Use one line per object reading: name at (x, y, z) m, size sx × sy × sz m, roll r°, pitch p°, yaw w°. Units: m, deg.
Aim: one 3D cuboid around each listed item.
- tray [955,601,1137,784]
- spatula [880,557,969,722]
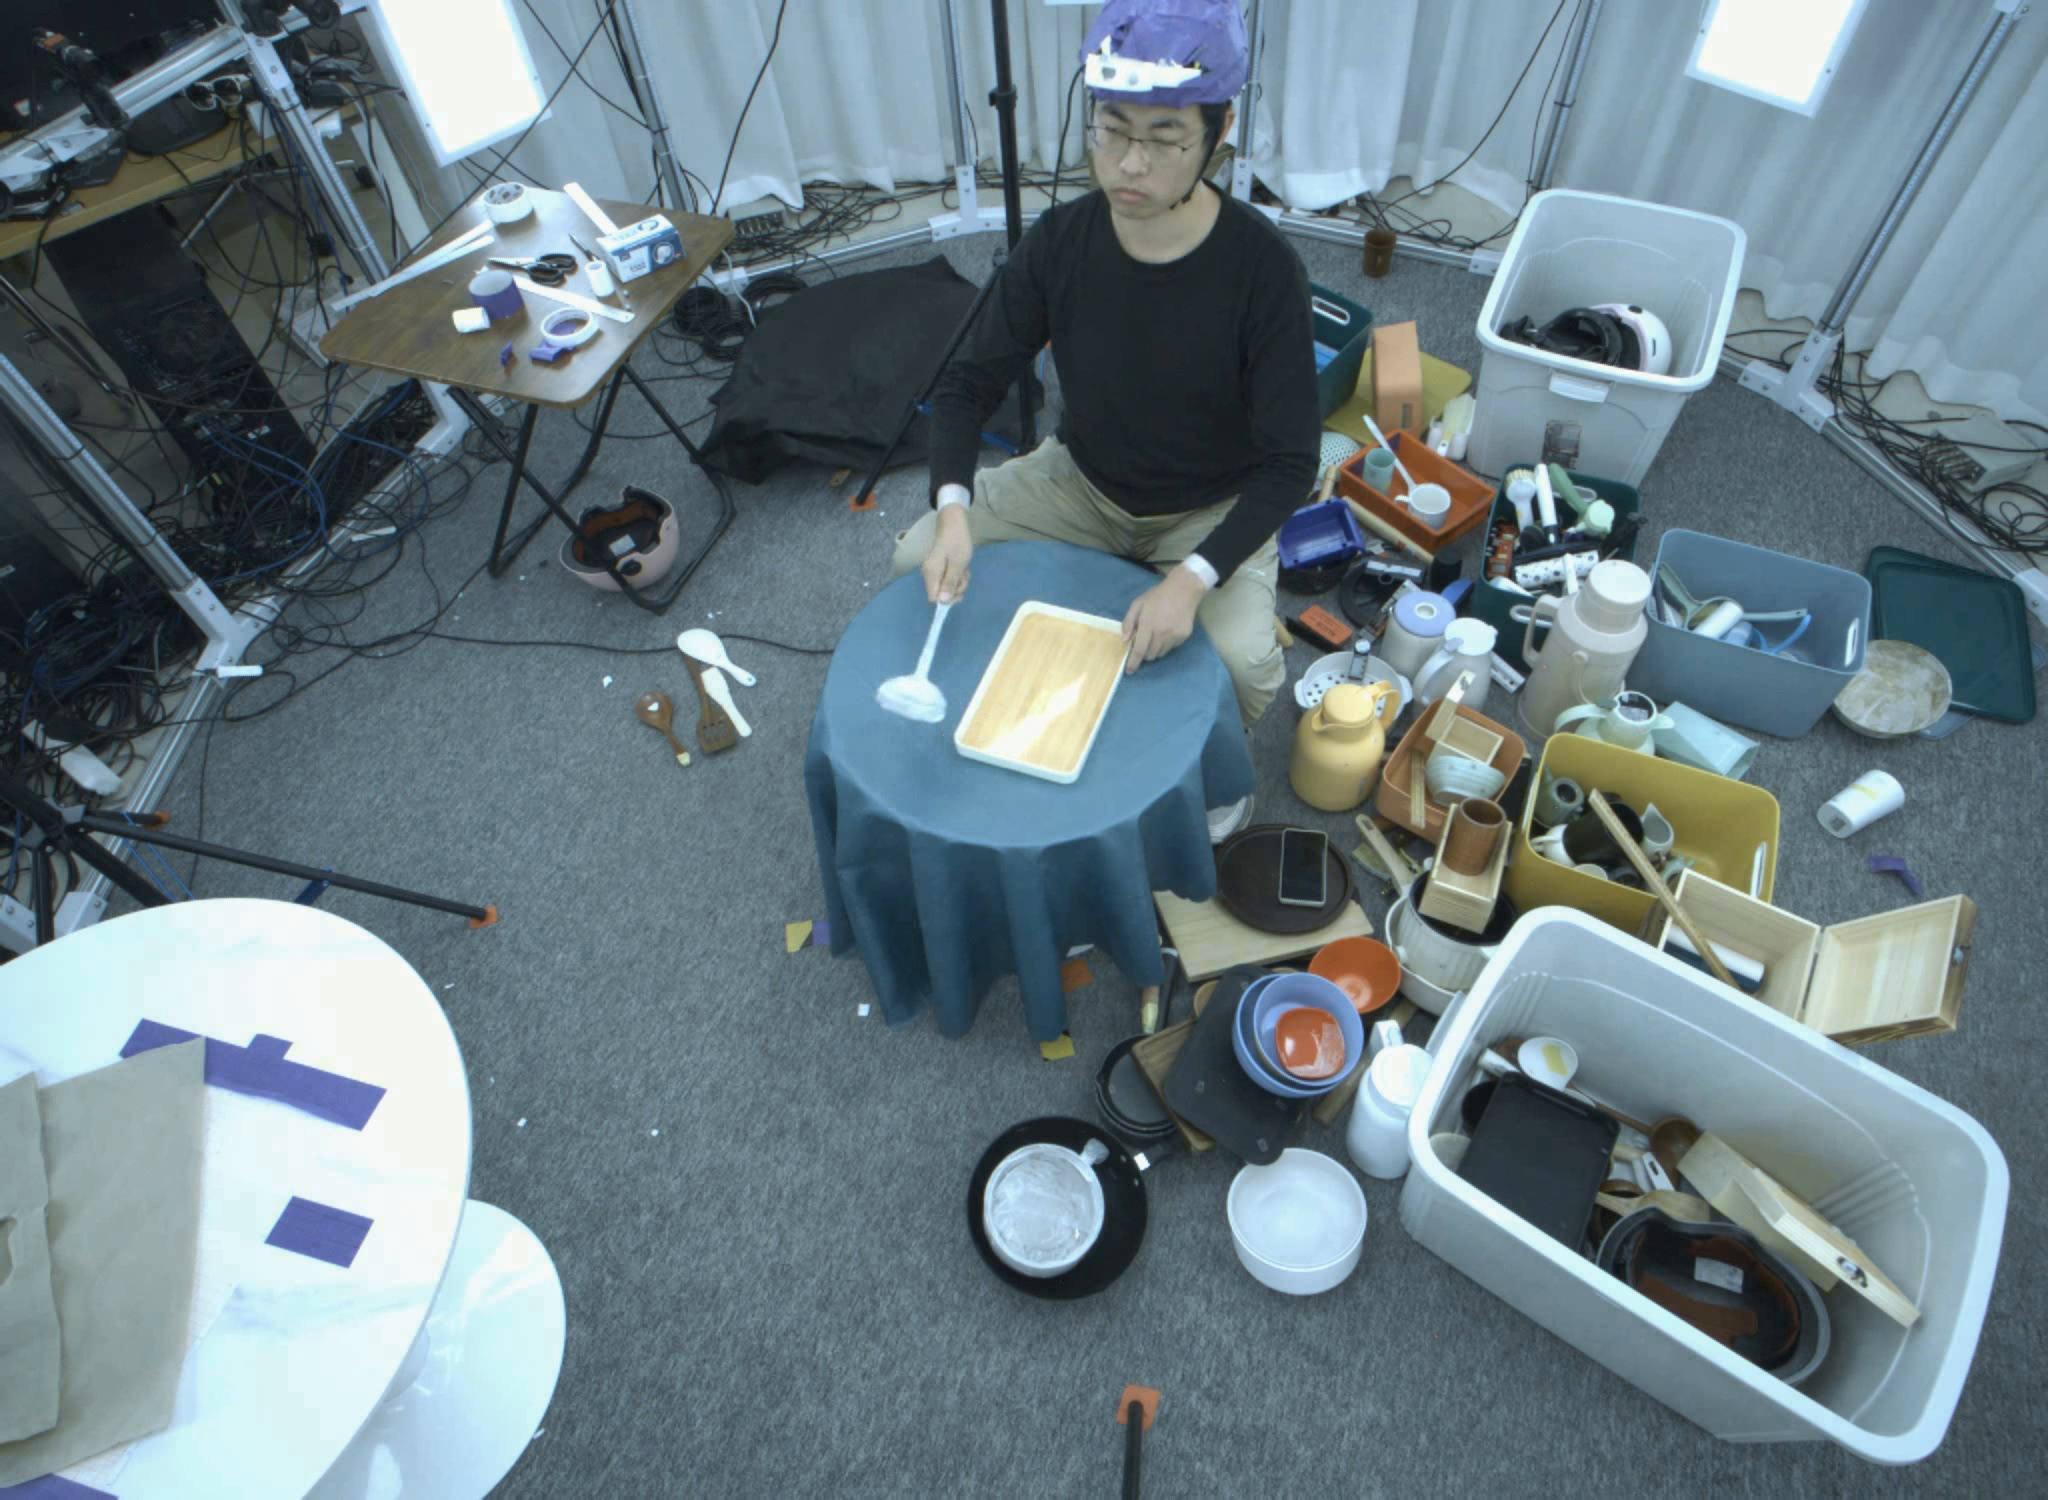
tray at (0.037, -0.092, 1.835) m, size 0.189 × 0.028 × 0.300 m, roll 16°, pitch 57°, yaw 13°
spatula at (-0.126, -0.175, 1.780) m, size 0.099 × 0.045 × 0.362 m, roll 18°, pitch 53°, yaw -7°
